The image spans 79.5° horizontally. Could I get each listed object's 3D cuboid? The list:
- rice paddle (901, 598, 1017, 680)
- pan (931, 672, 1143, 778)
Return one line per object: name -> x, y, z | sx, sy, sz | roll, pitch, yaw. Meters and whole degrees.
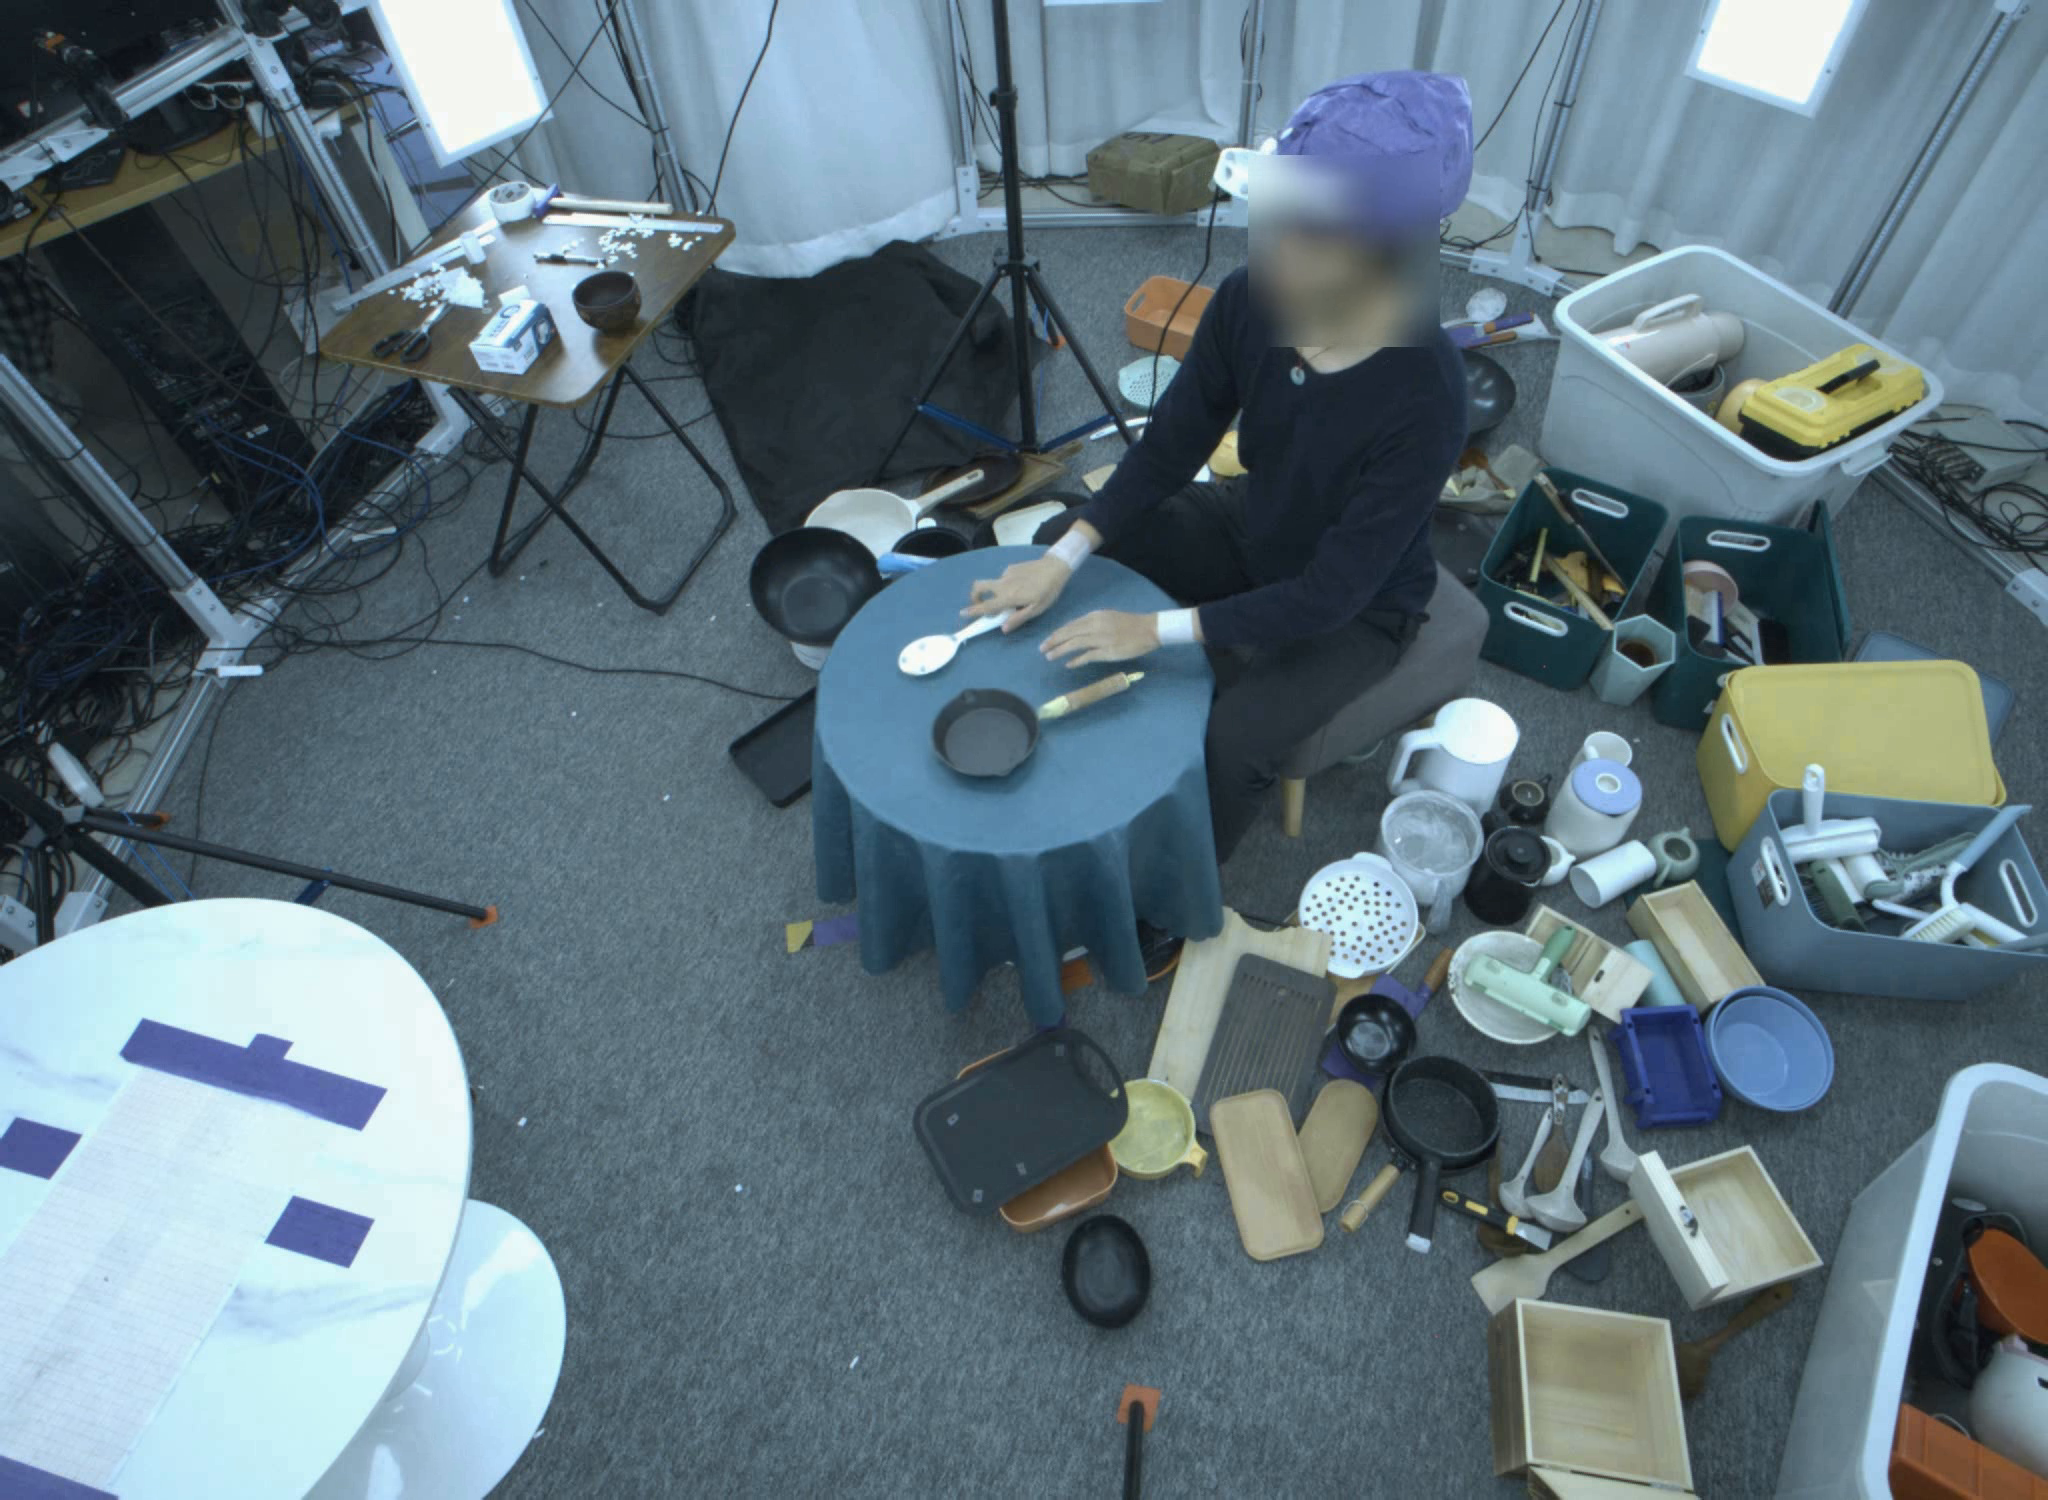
rice paddle -> -0.101, -0.172, 1.899 | 0.207, 0.029, 0.068 | -33, 70, -18
pan -> 0.023, -0.050, 1.791 | 0.326, 0.050, 0.166 | -18, 56, -8
